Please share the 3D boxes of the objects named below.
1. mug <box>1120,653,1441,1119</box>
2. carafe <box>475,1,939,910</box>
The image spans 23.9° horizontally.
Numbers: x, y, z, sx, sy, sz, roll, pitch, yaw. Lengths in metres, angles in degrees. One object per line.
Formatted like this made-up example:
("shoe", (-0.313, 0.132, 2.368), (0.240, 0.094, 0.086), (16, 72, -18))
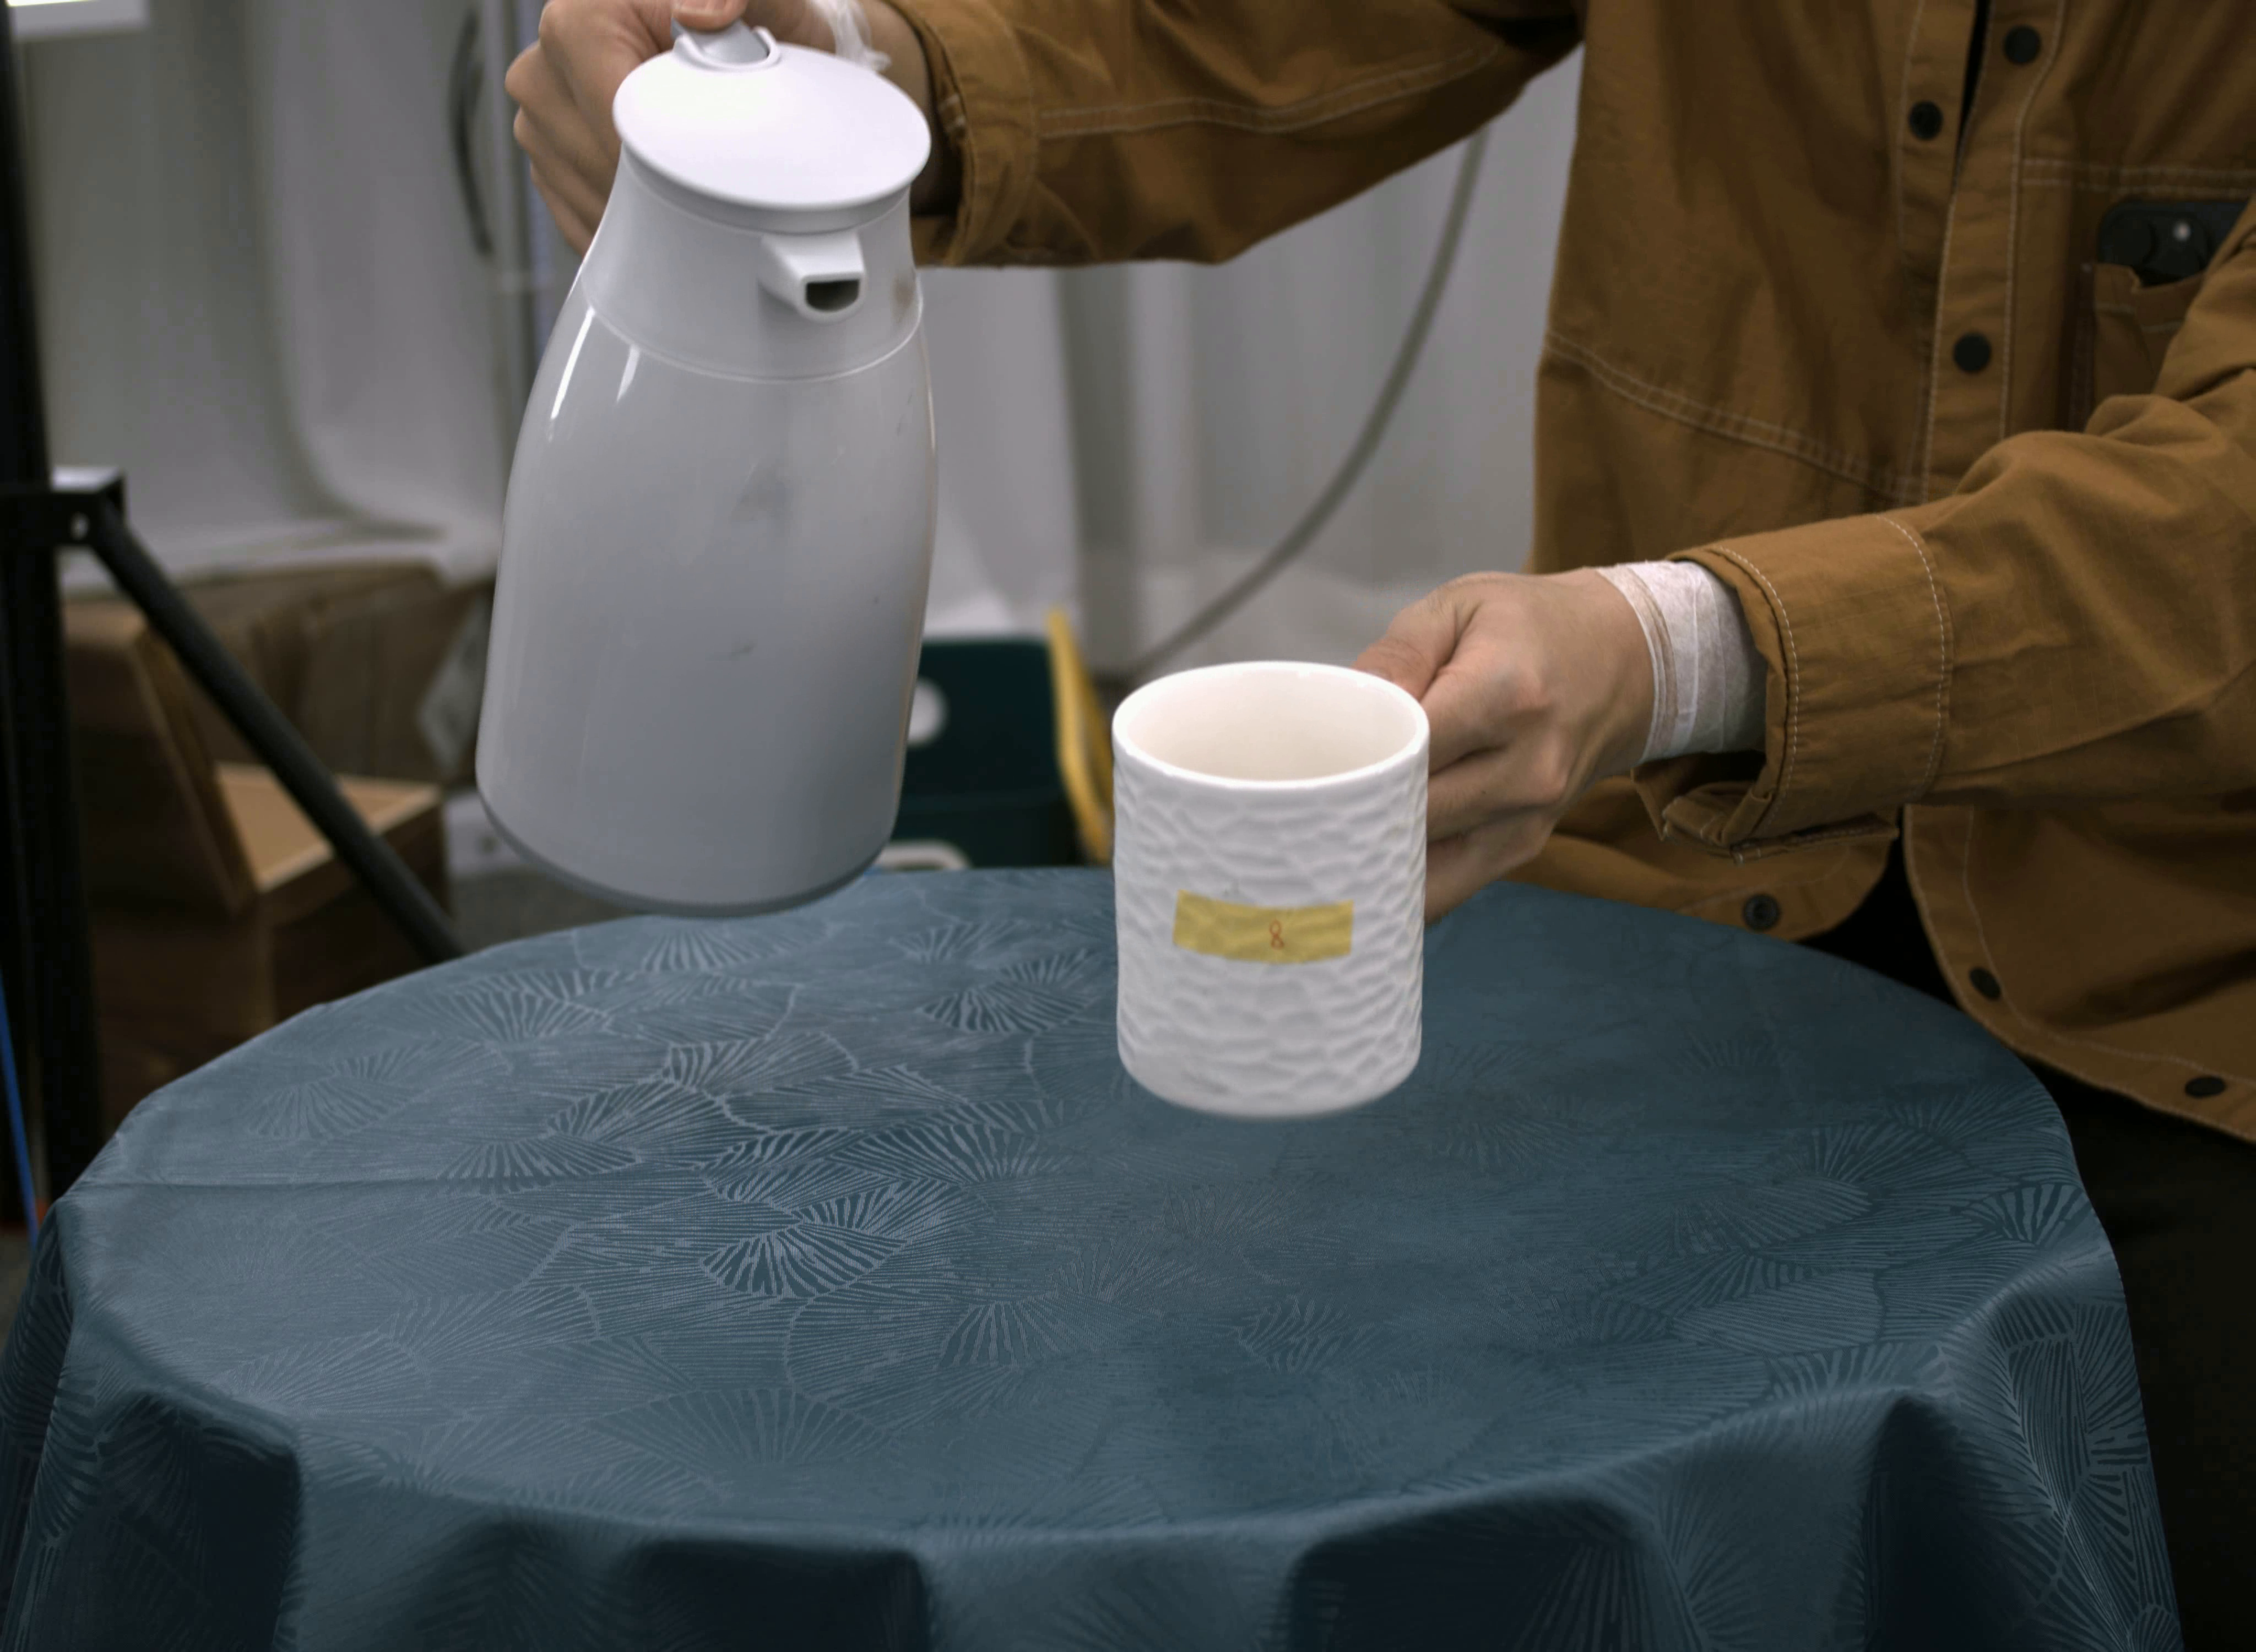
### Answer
("mug", (0.046, 0.011, 1.440), (0.086, 0.102, 0.117), (11, 25, 23))
("carafe", (-0.127, -0.123, 1.601), (0.130, 0.248, 0.171), (-7, 39, -22))
